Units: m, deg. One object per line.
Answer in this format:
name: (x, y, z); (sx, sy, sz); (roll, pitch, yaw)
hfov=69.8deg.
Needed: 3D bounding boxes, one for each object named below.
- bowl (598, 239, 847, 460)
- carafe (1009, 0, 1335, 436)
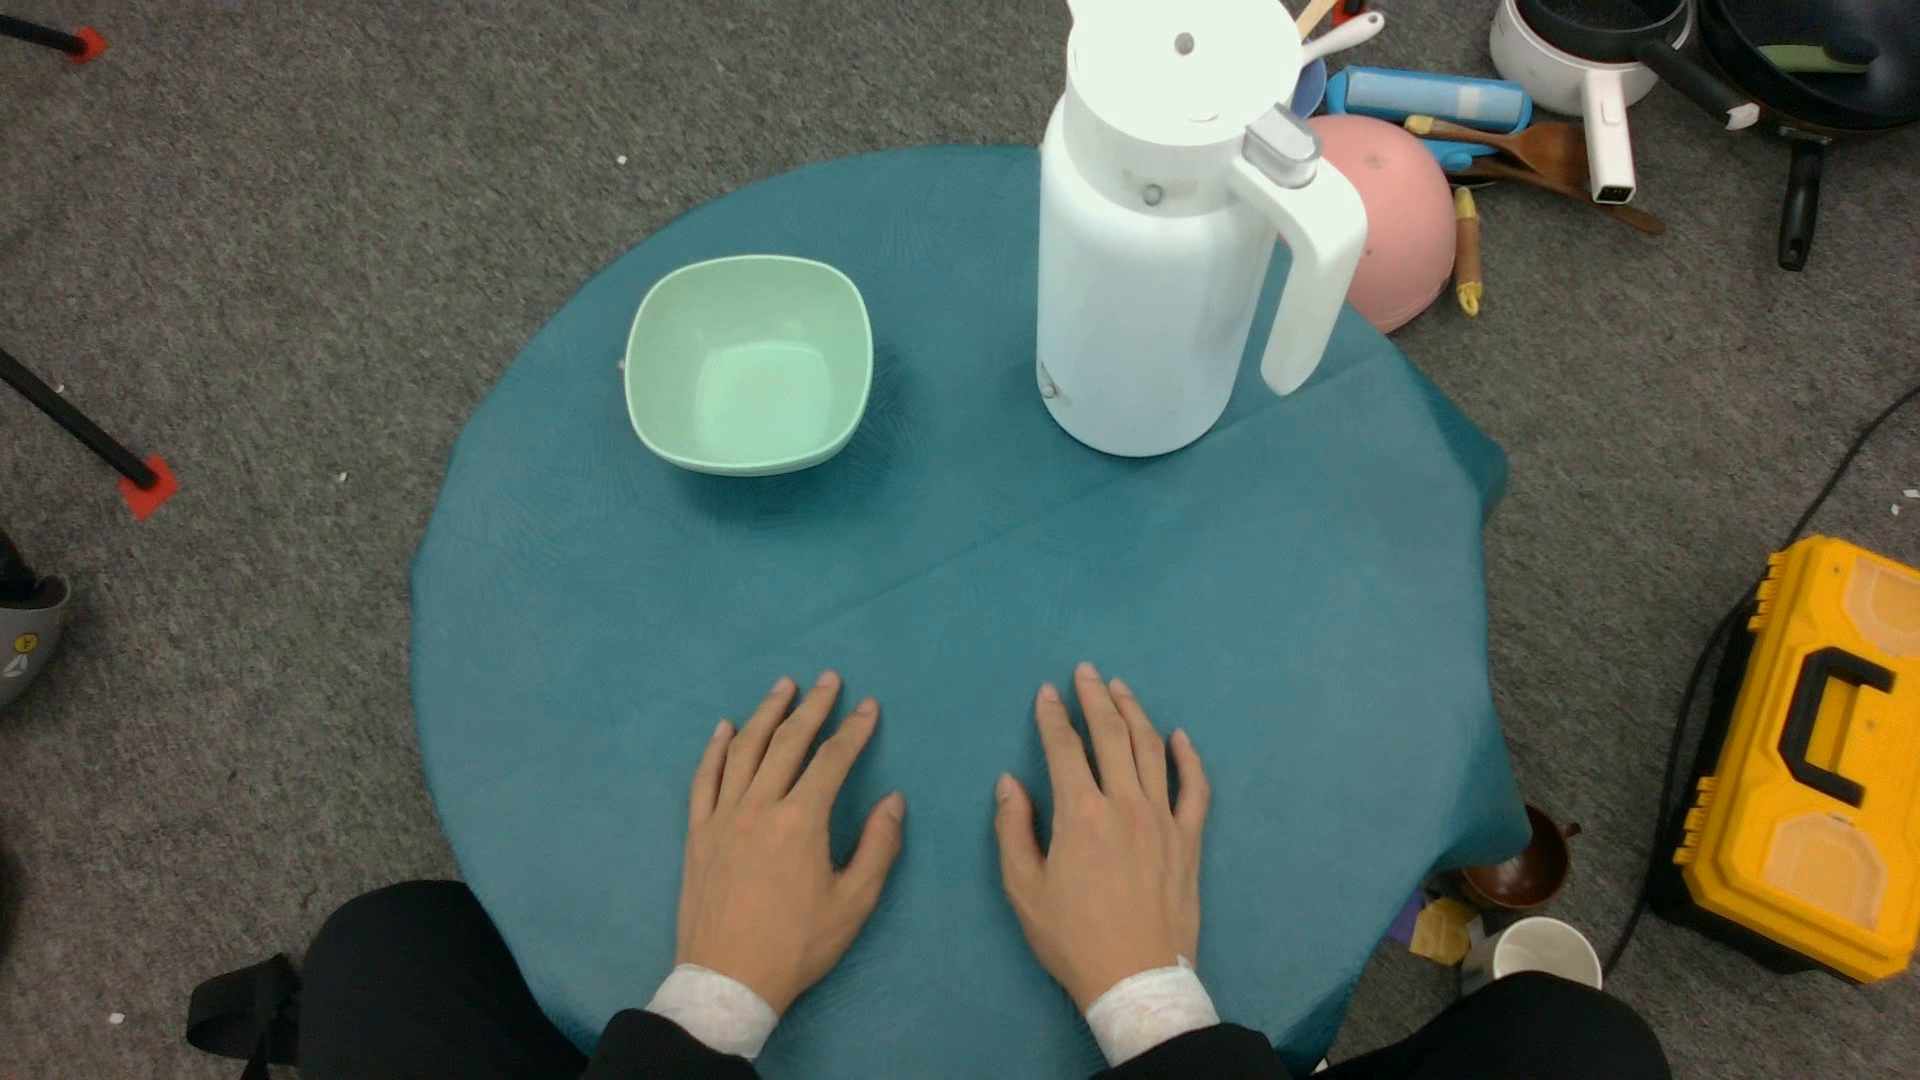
bowl: (-0.132, -0.100, 0.793); (0.151, 0.058, 0.152); (0, 67, 1)
carafe: (0.097, -0.152, 0.697); (0.124, 0.268, 0.173); (-40, 71, -17)
